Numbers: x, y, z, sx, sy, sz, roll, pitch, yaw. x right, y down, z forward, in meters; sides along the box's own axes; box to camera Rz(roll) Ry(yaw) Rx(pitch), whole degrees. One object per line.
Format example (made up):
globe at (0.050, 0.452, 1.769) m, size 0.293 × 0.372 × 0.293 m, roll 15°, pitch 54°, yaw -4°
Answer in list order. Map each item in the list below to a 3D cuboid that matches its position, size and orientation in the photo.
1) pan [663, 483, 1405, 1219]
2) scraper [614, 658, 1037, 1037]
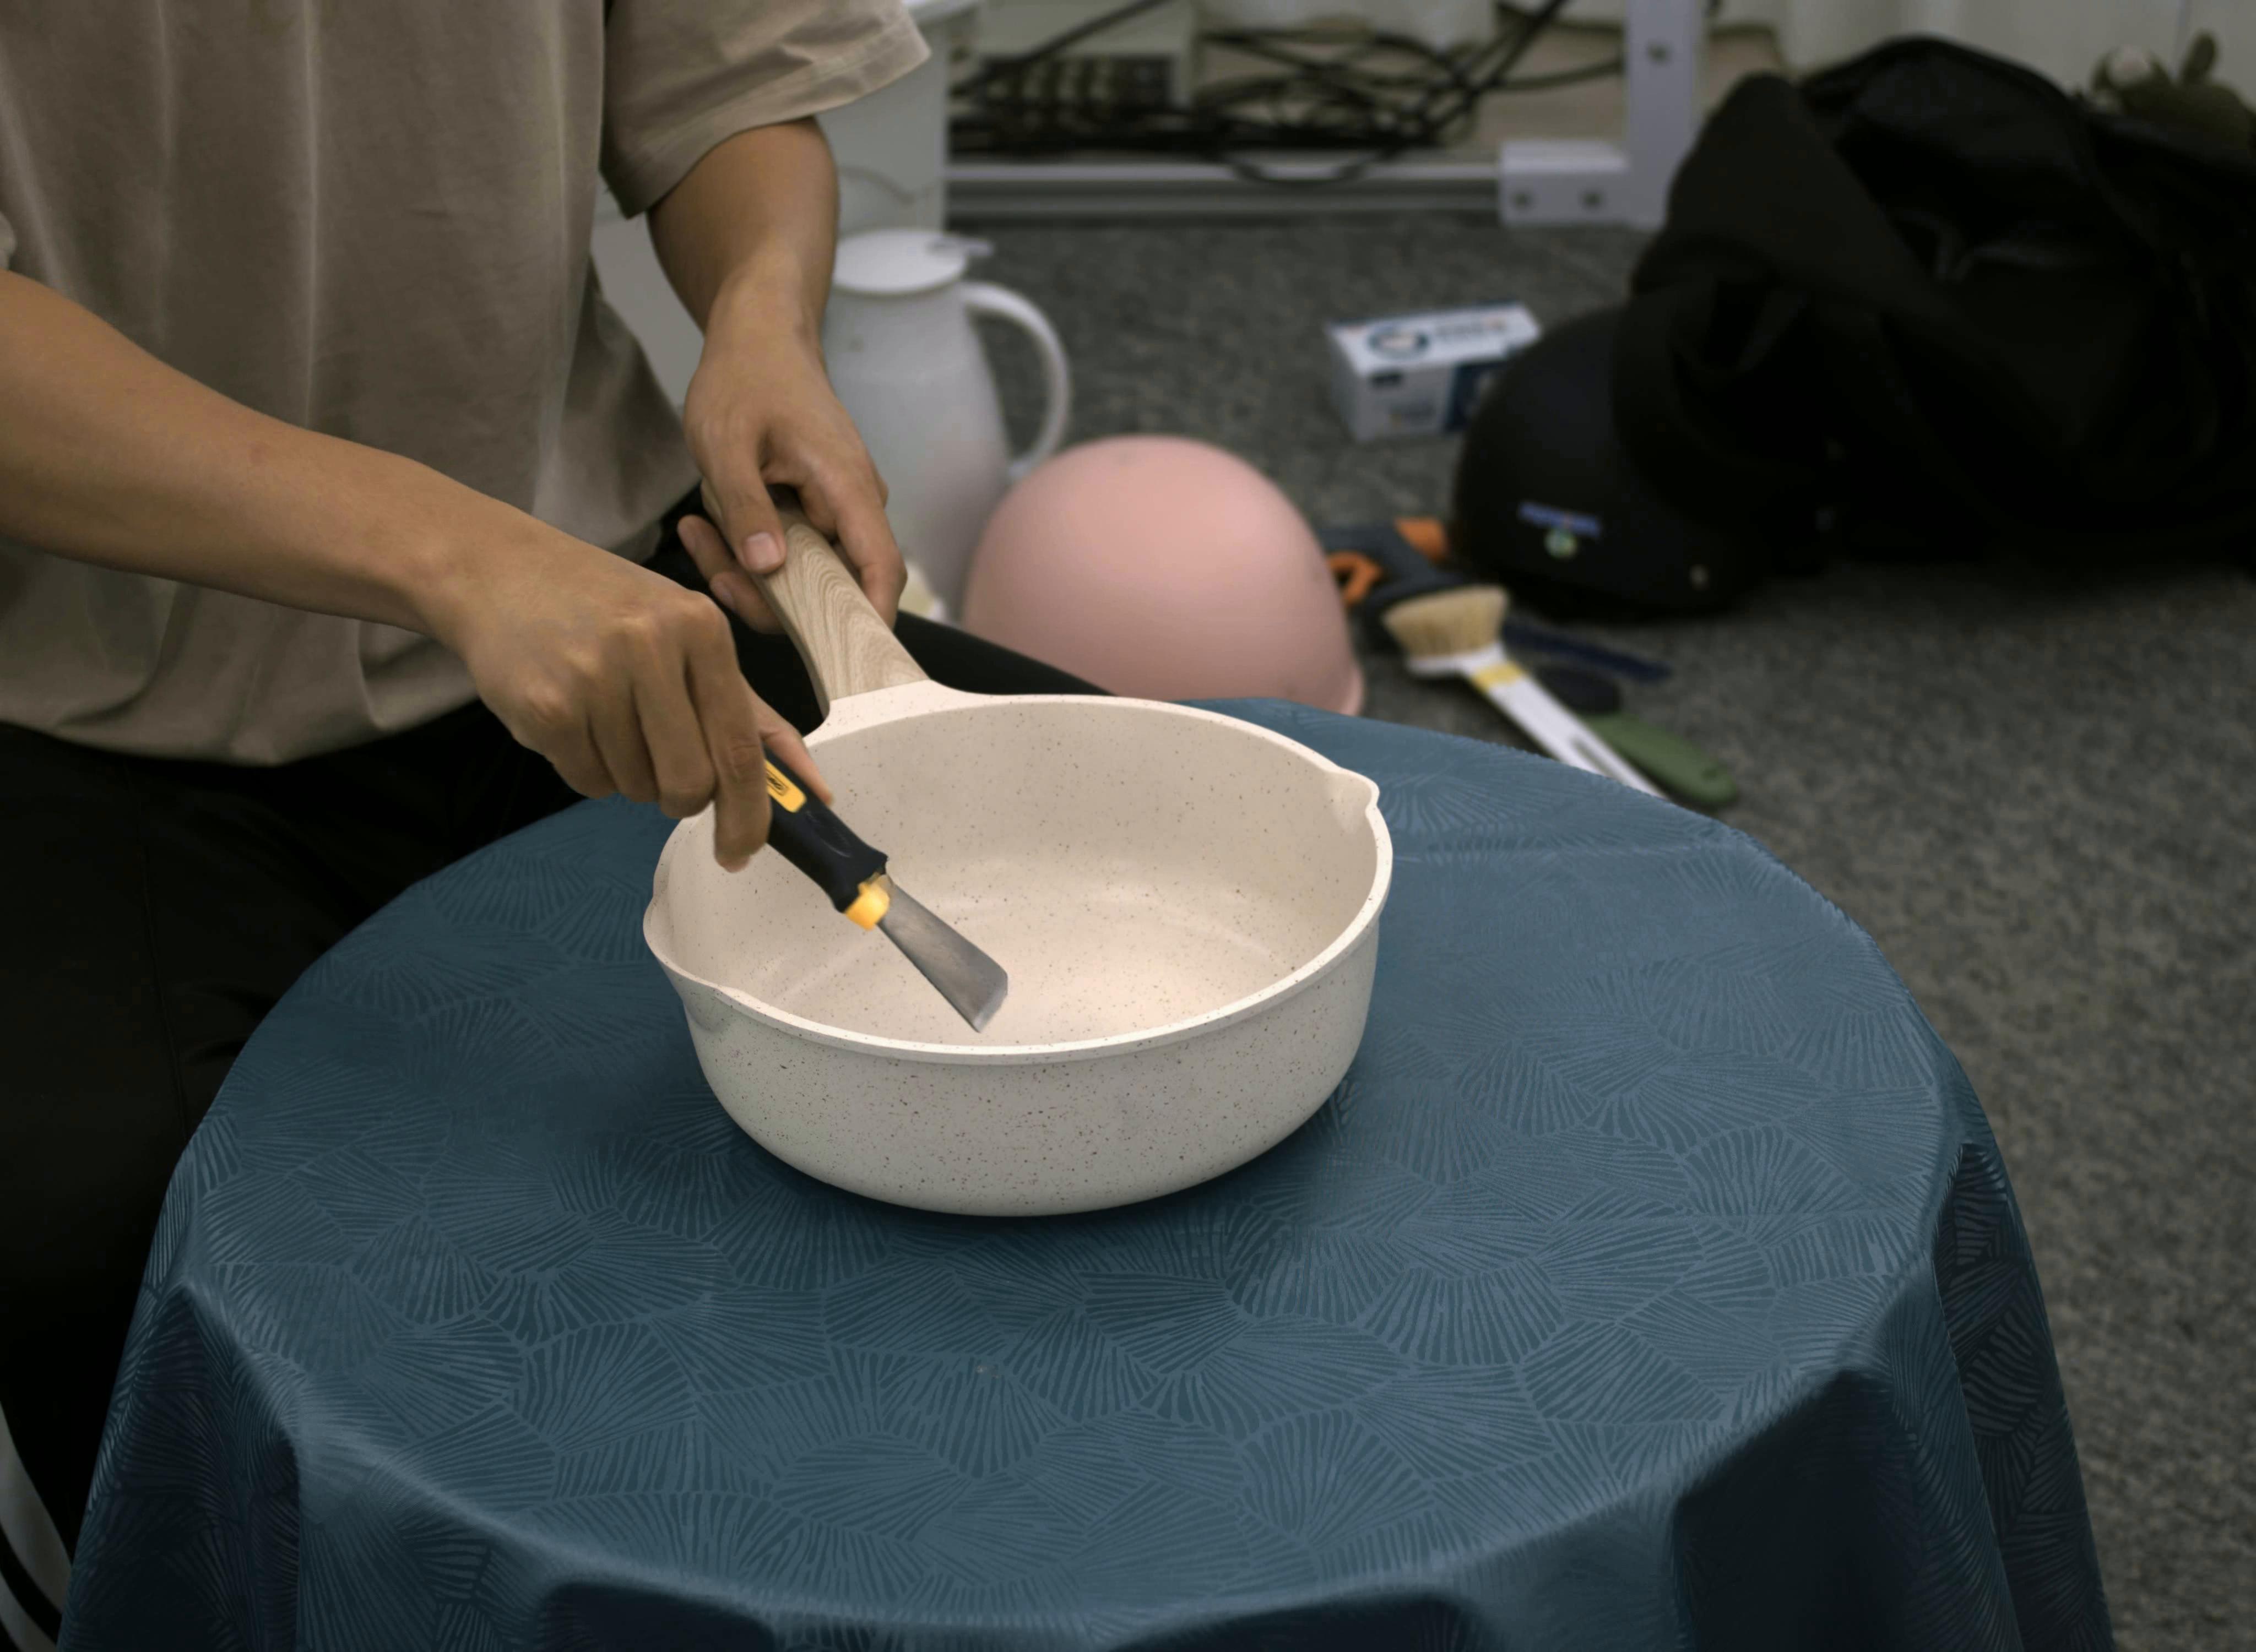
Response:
pan at (-0.064, 0.003, 1.993) m, size 0.264 × 0.101 × 0.438 m, roll -15°, pitch 30°, yaw -18°
scraper at (-0.102, 0.006, 1.856) m, size 0.170 × 0.014 × 0.039 m, roll 41°, pitch 44°, yaw -4°
